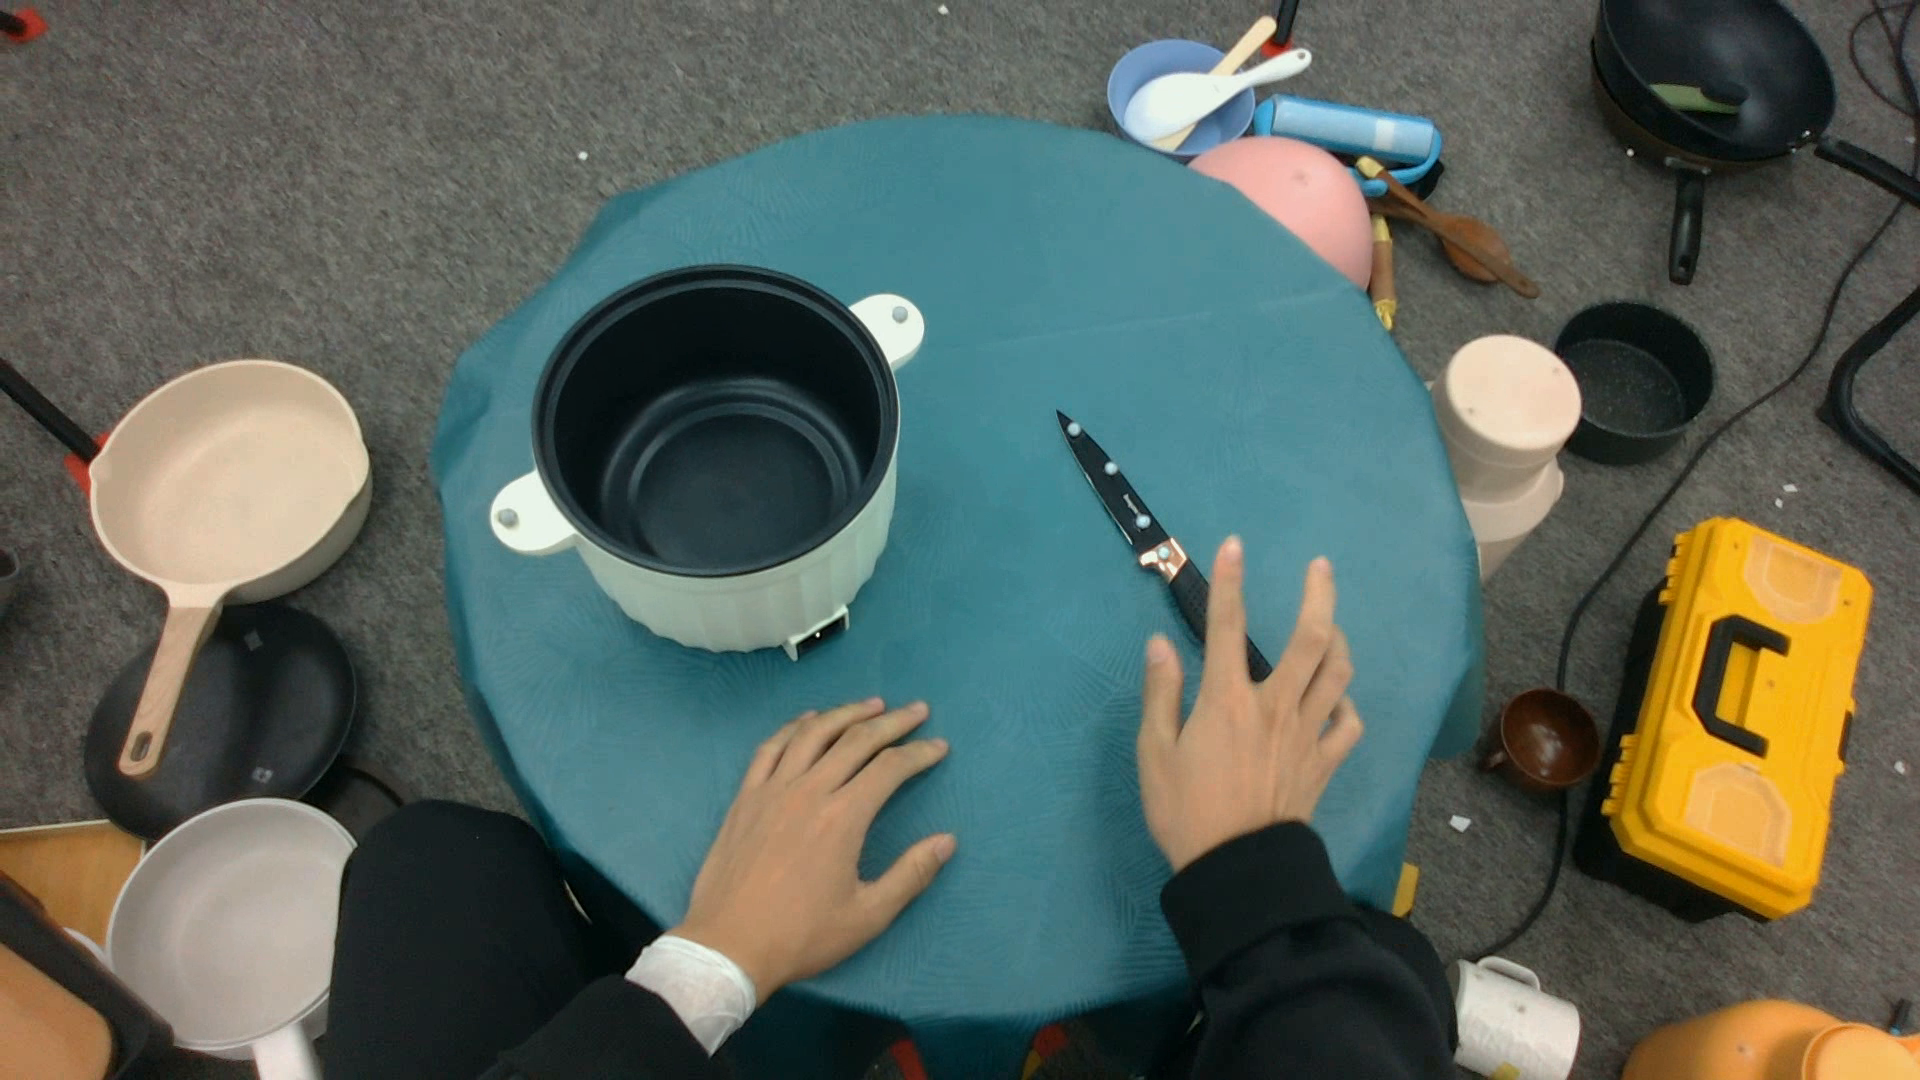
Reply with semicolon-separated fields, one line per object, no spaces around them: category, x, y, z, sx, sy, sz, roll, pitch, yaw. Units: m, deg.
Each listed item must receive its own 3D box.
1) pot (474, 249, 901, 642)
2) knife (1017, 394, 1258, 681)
pot;-0.140;-0.046;0.744;0.241;0.142;0.190;-32;73;-19
knife;0.102;-0.007;0.815;0.026;0.017;0.226;-33;68;-6
